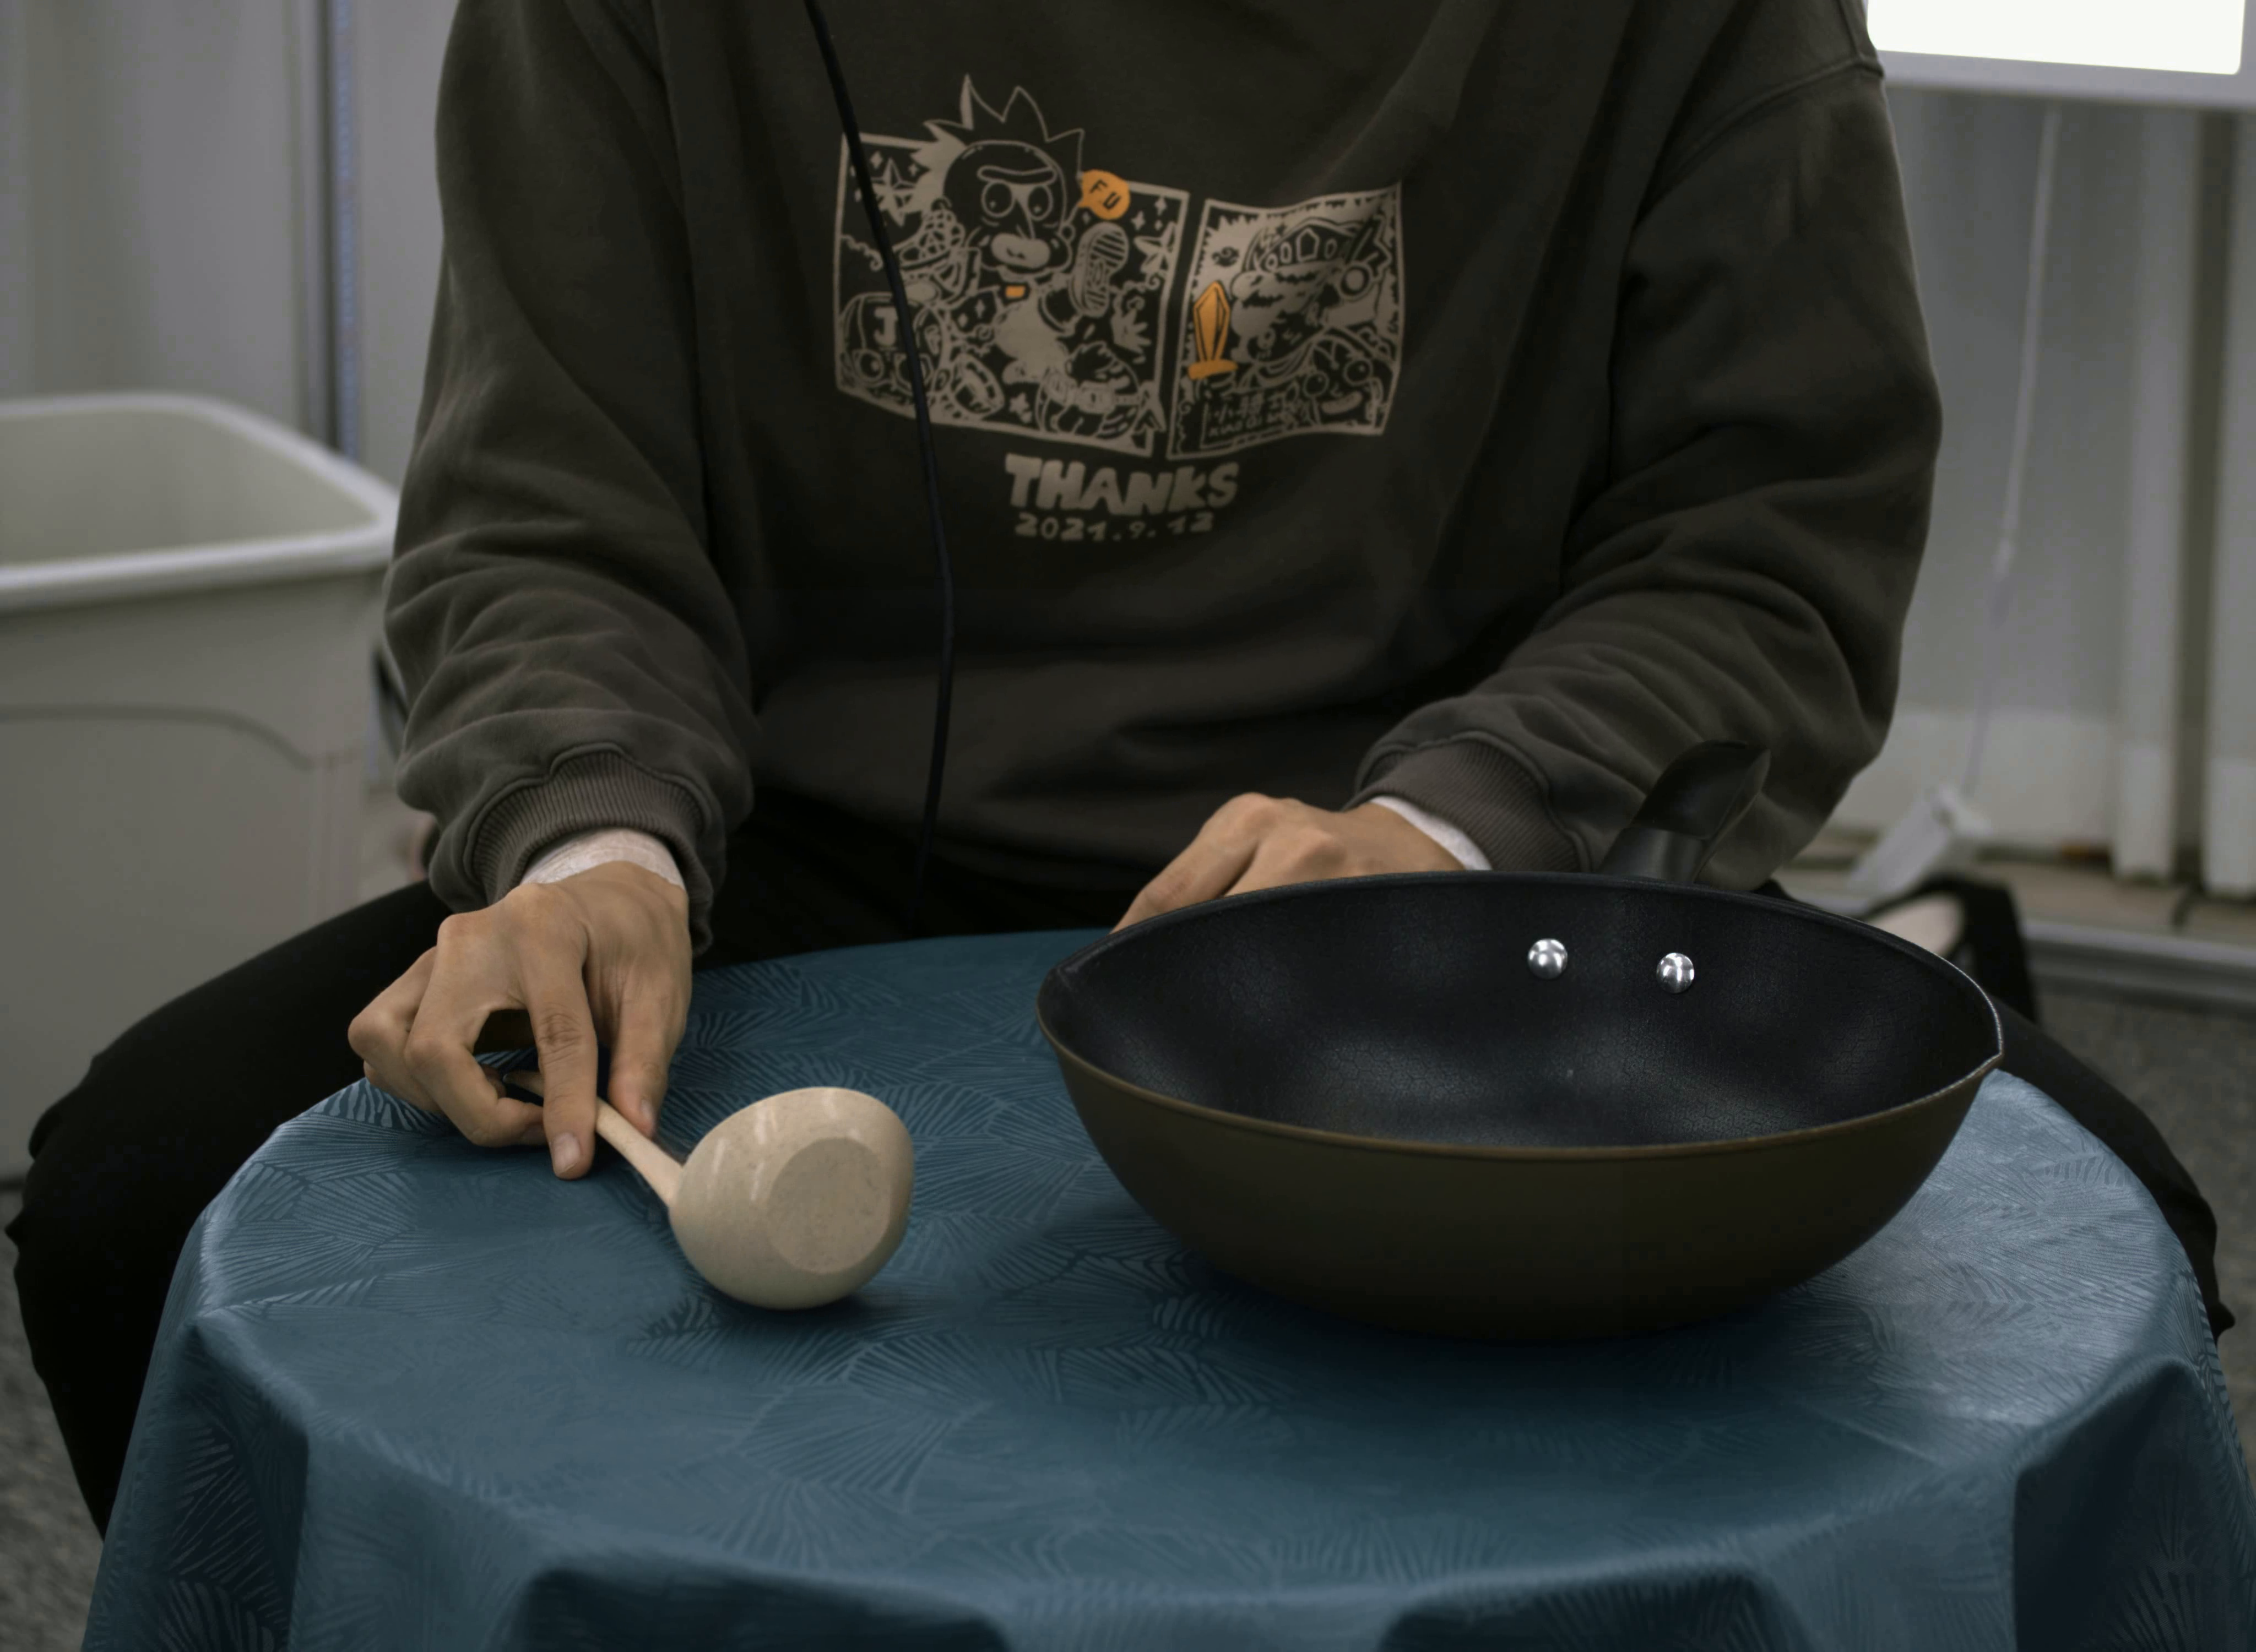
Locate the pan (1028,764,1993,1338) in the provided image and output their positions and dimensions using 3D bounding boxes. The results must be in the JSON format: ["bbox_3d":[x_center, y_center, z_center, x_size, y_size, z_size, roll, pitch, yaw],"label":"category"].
[{"bbox_3d":[0.139,0.067,1.646,0.285,0.087,0.463,5,15,17],"label":"pan"}]

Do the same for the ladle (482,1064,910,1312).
[{"bbox_3d":[-0.142,0.080,1.602,0.072,0.073,0.251,4,14,-29],"label":"ladle"}]
